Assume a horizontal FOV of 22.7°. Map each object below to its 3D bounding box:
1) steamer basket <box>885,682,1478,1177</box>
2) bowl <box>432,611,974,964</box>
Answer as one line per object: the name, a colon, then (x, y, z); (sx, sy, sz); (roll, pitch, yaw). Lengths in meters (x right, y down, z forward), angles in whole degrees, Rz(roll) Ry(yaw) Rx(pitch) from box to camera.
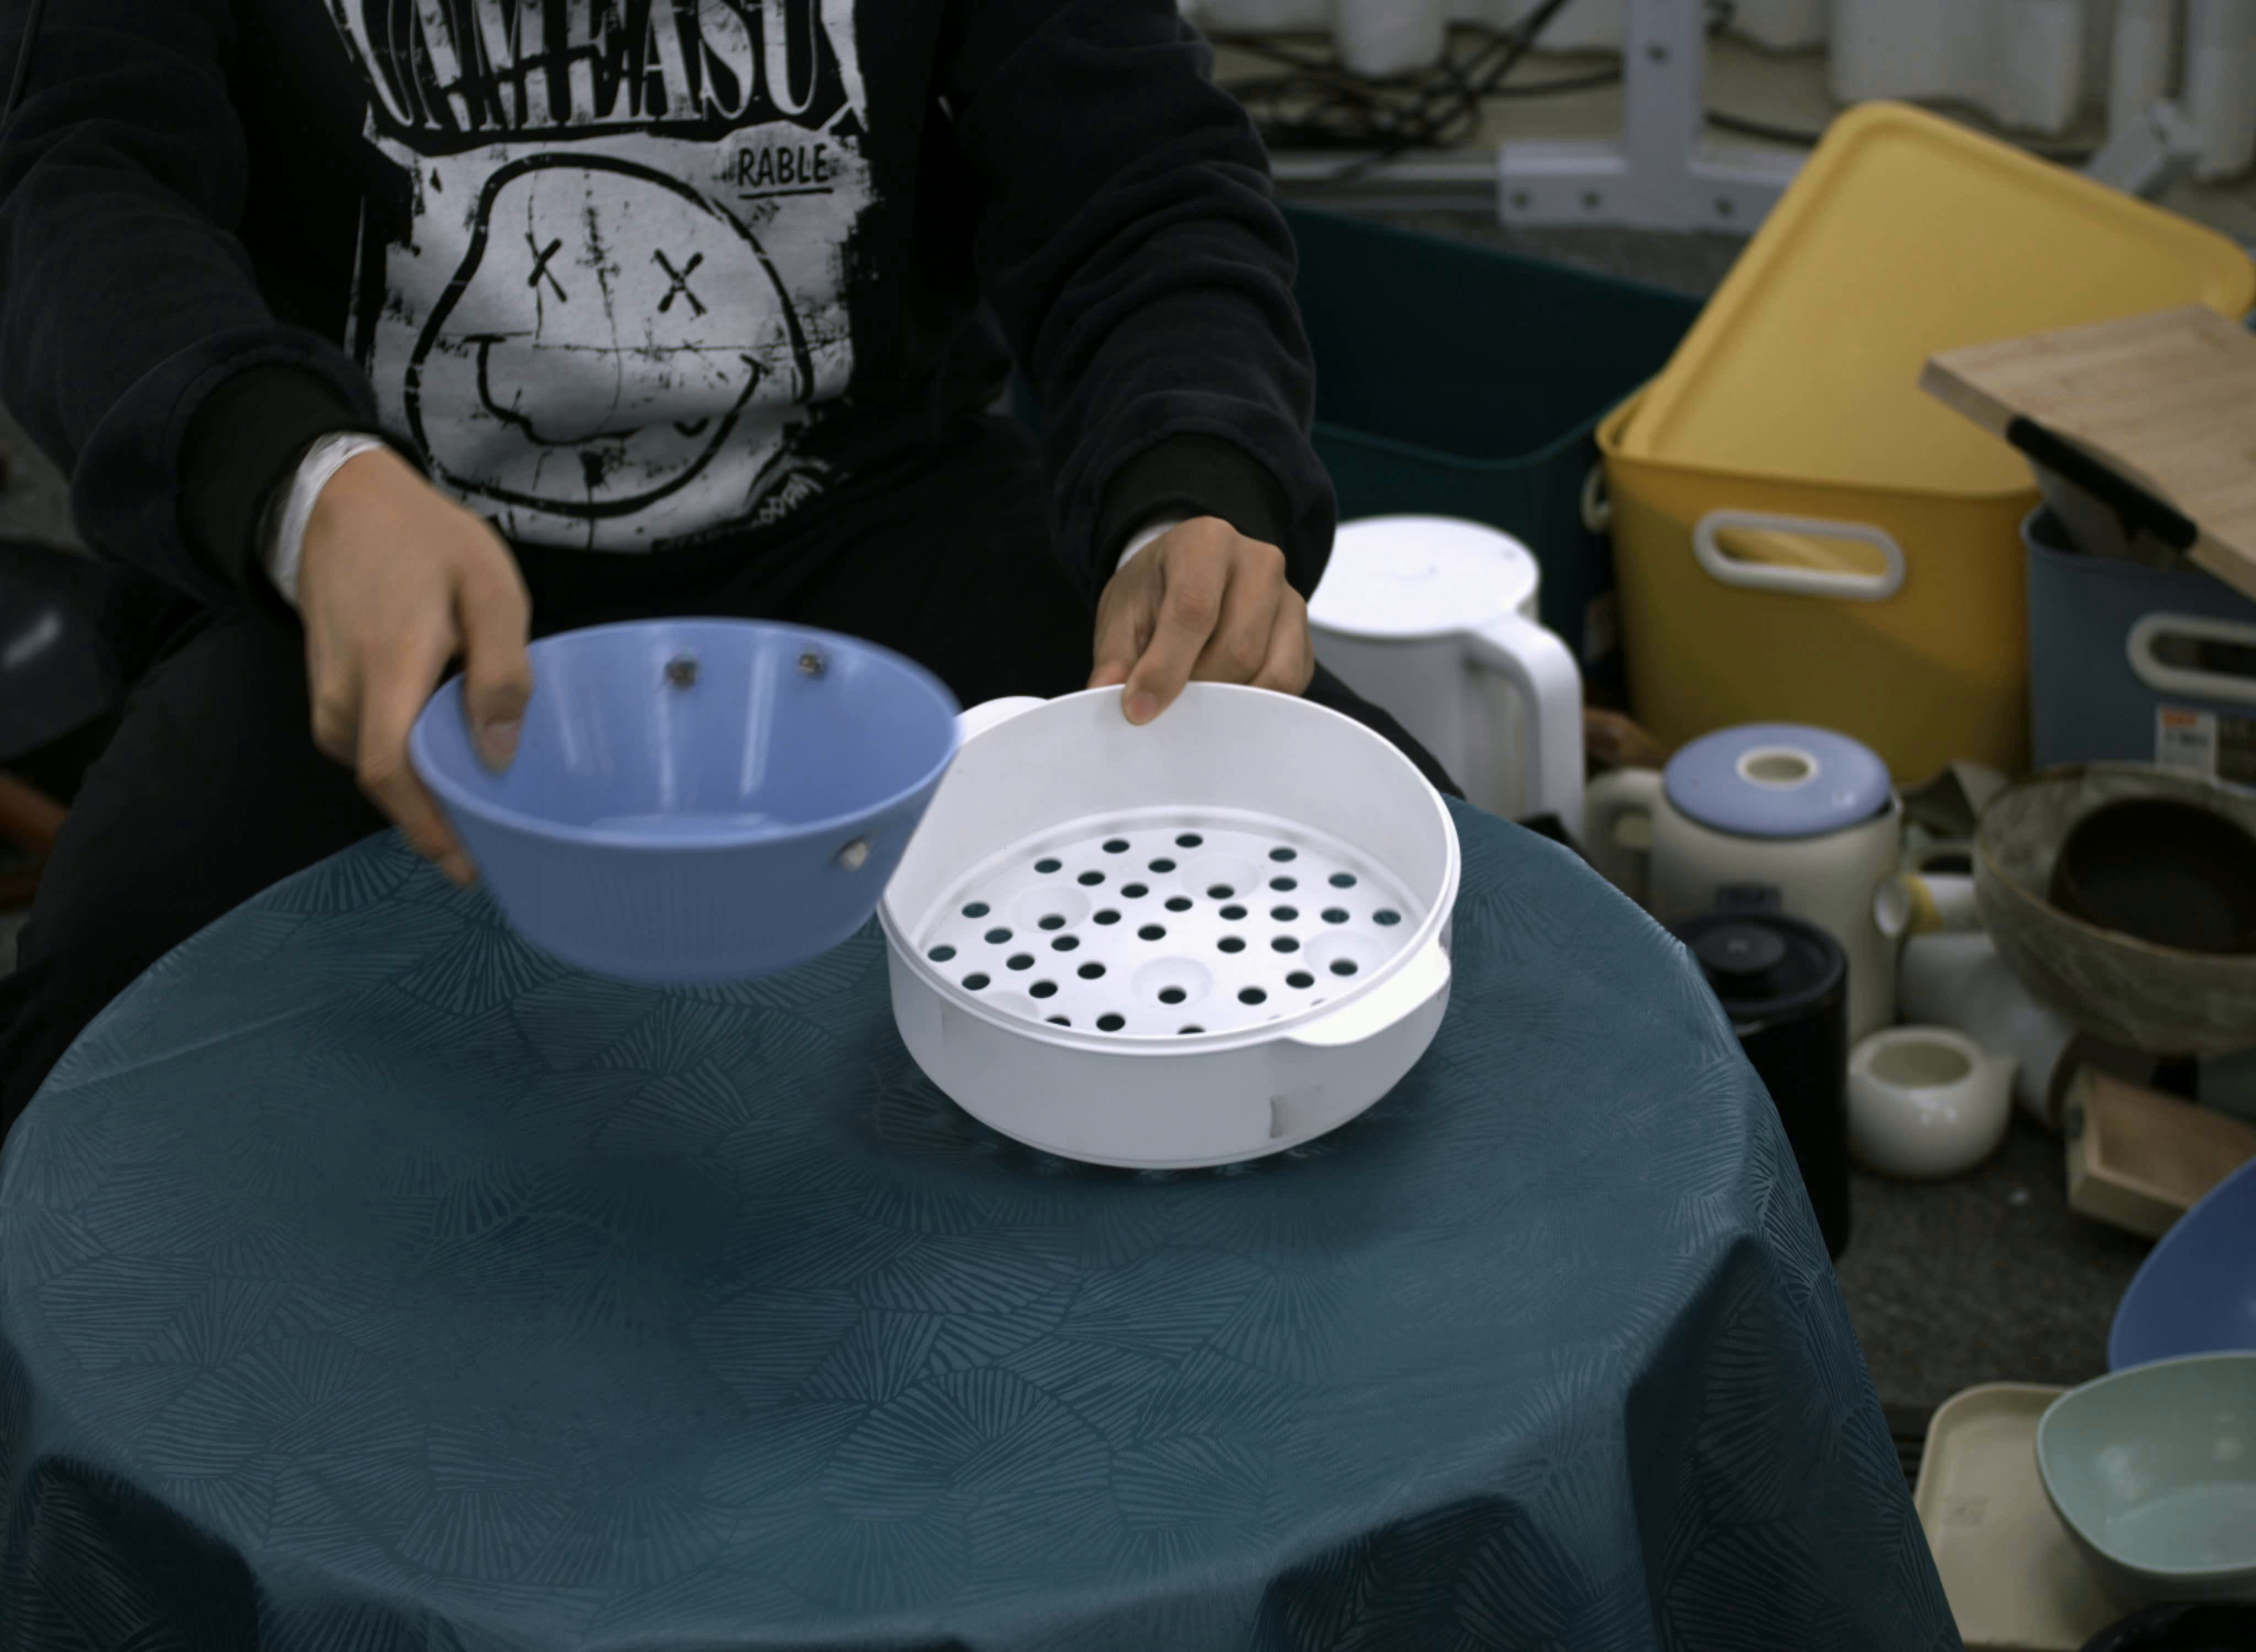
steamer basket: (0.019, 0.036, 1.917); (0.204, 0.068, 0.231); (-32, 47, -33)
bowl: (-0.137, -0.008, 1.823); (0.175, 0.069, 0.178); (2, 23, 0)
